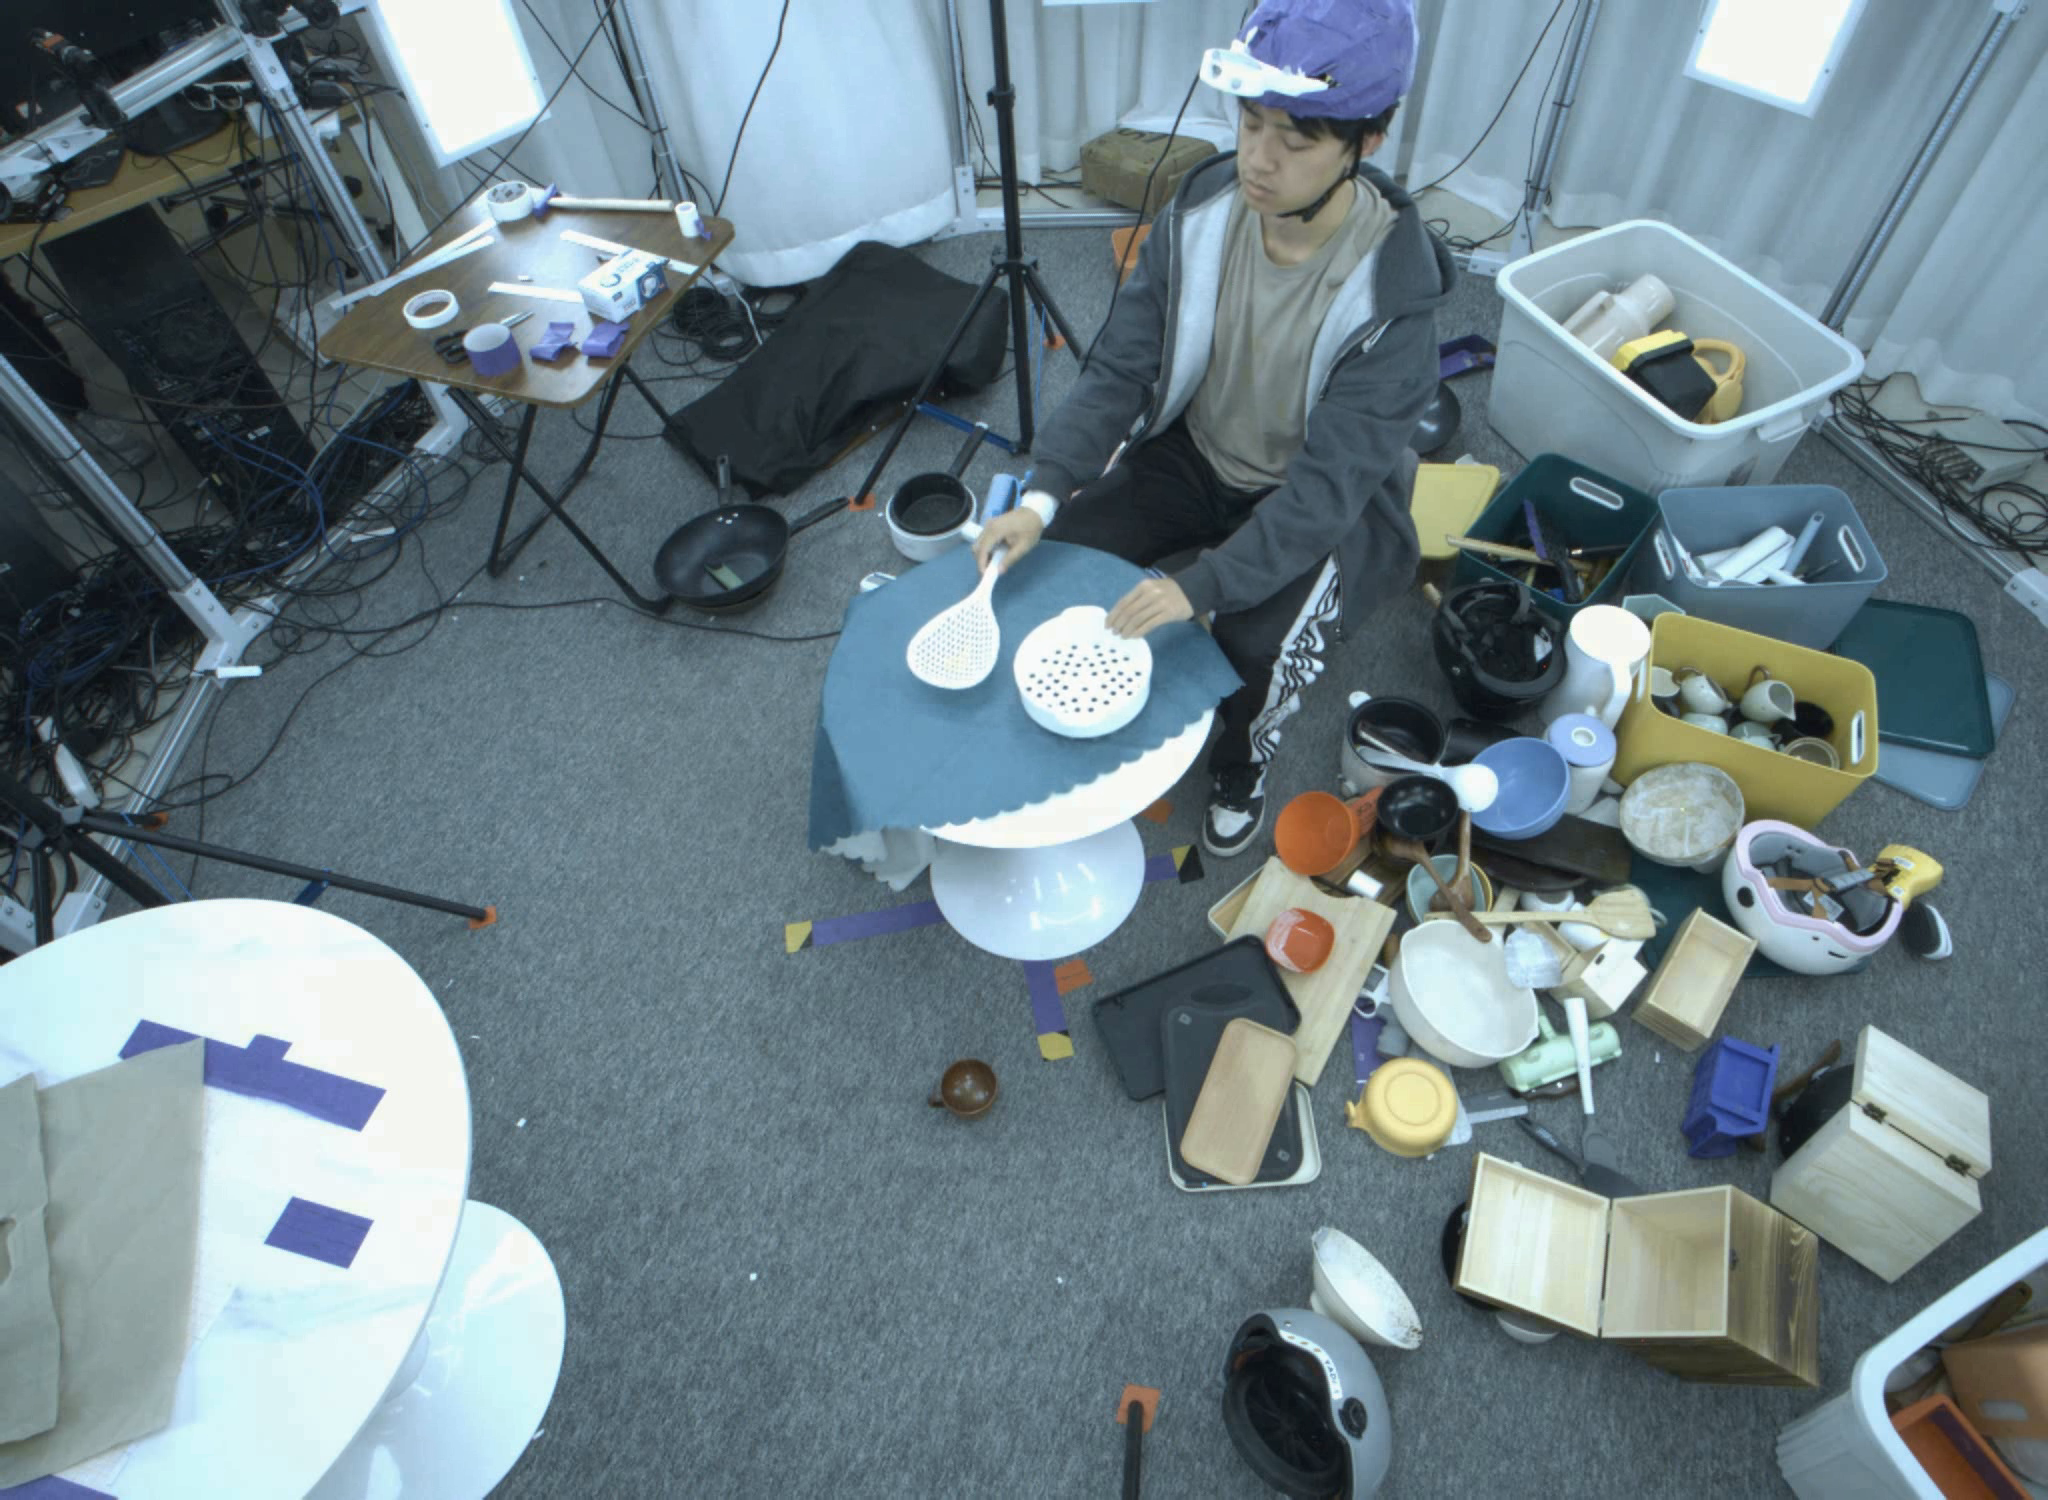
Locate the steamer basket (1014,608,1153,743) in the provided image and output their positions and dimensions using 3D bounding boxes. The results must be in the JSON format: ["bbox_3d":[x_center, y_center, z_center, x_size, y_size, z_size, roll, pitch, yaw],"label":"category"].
[{"bbox_3d":[0.089,-0.105,1.818,0.201,0.070,0.228,-1,56,3],"label":"steamer basket"}]

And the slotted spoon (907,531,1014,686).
[{"bbox_3d":[-0.070,-0.229,1.908,0.135,0.051,0.347,14,60,12],"label":"slotted spoon"}]
